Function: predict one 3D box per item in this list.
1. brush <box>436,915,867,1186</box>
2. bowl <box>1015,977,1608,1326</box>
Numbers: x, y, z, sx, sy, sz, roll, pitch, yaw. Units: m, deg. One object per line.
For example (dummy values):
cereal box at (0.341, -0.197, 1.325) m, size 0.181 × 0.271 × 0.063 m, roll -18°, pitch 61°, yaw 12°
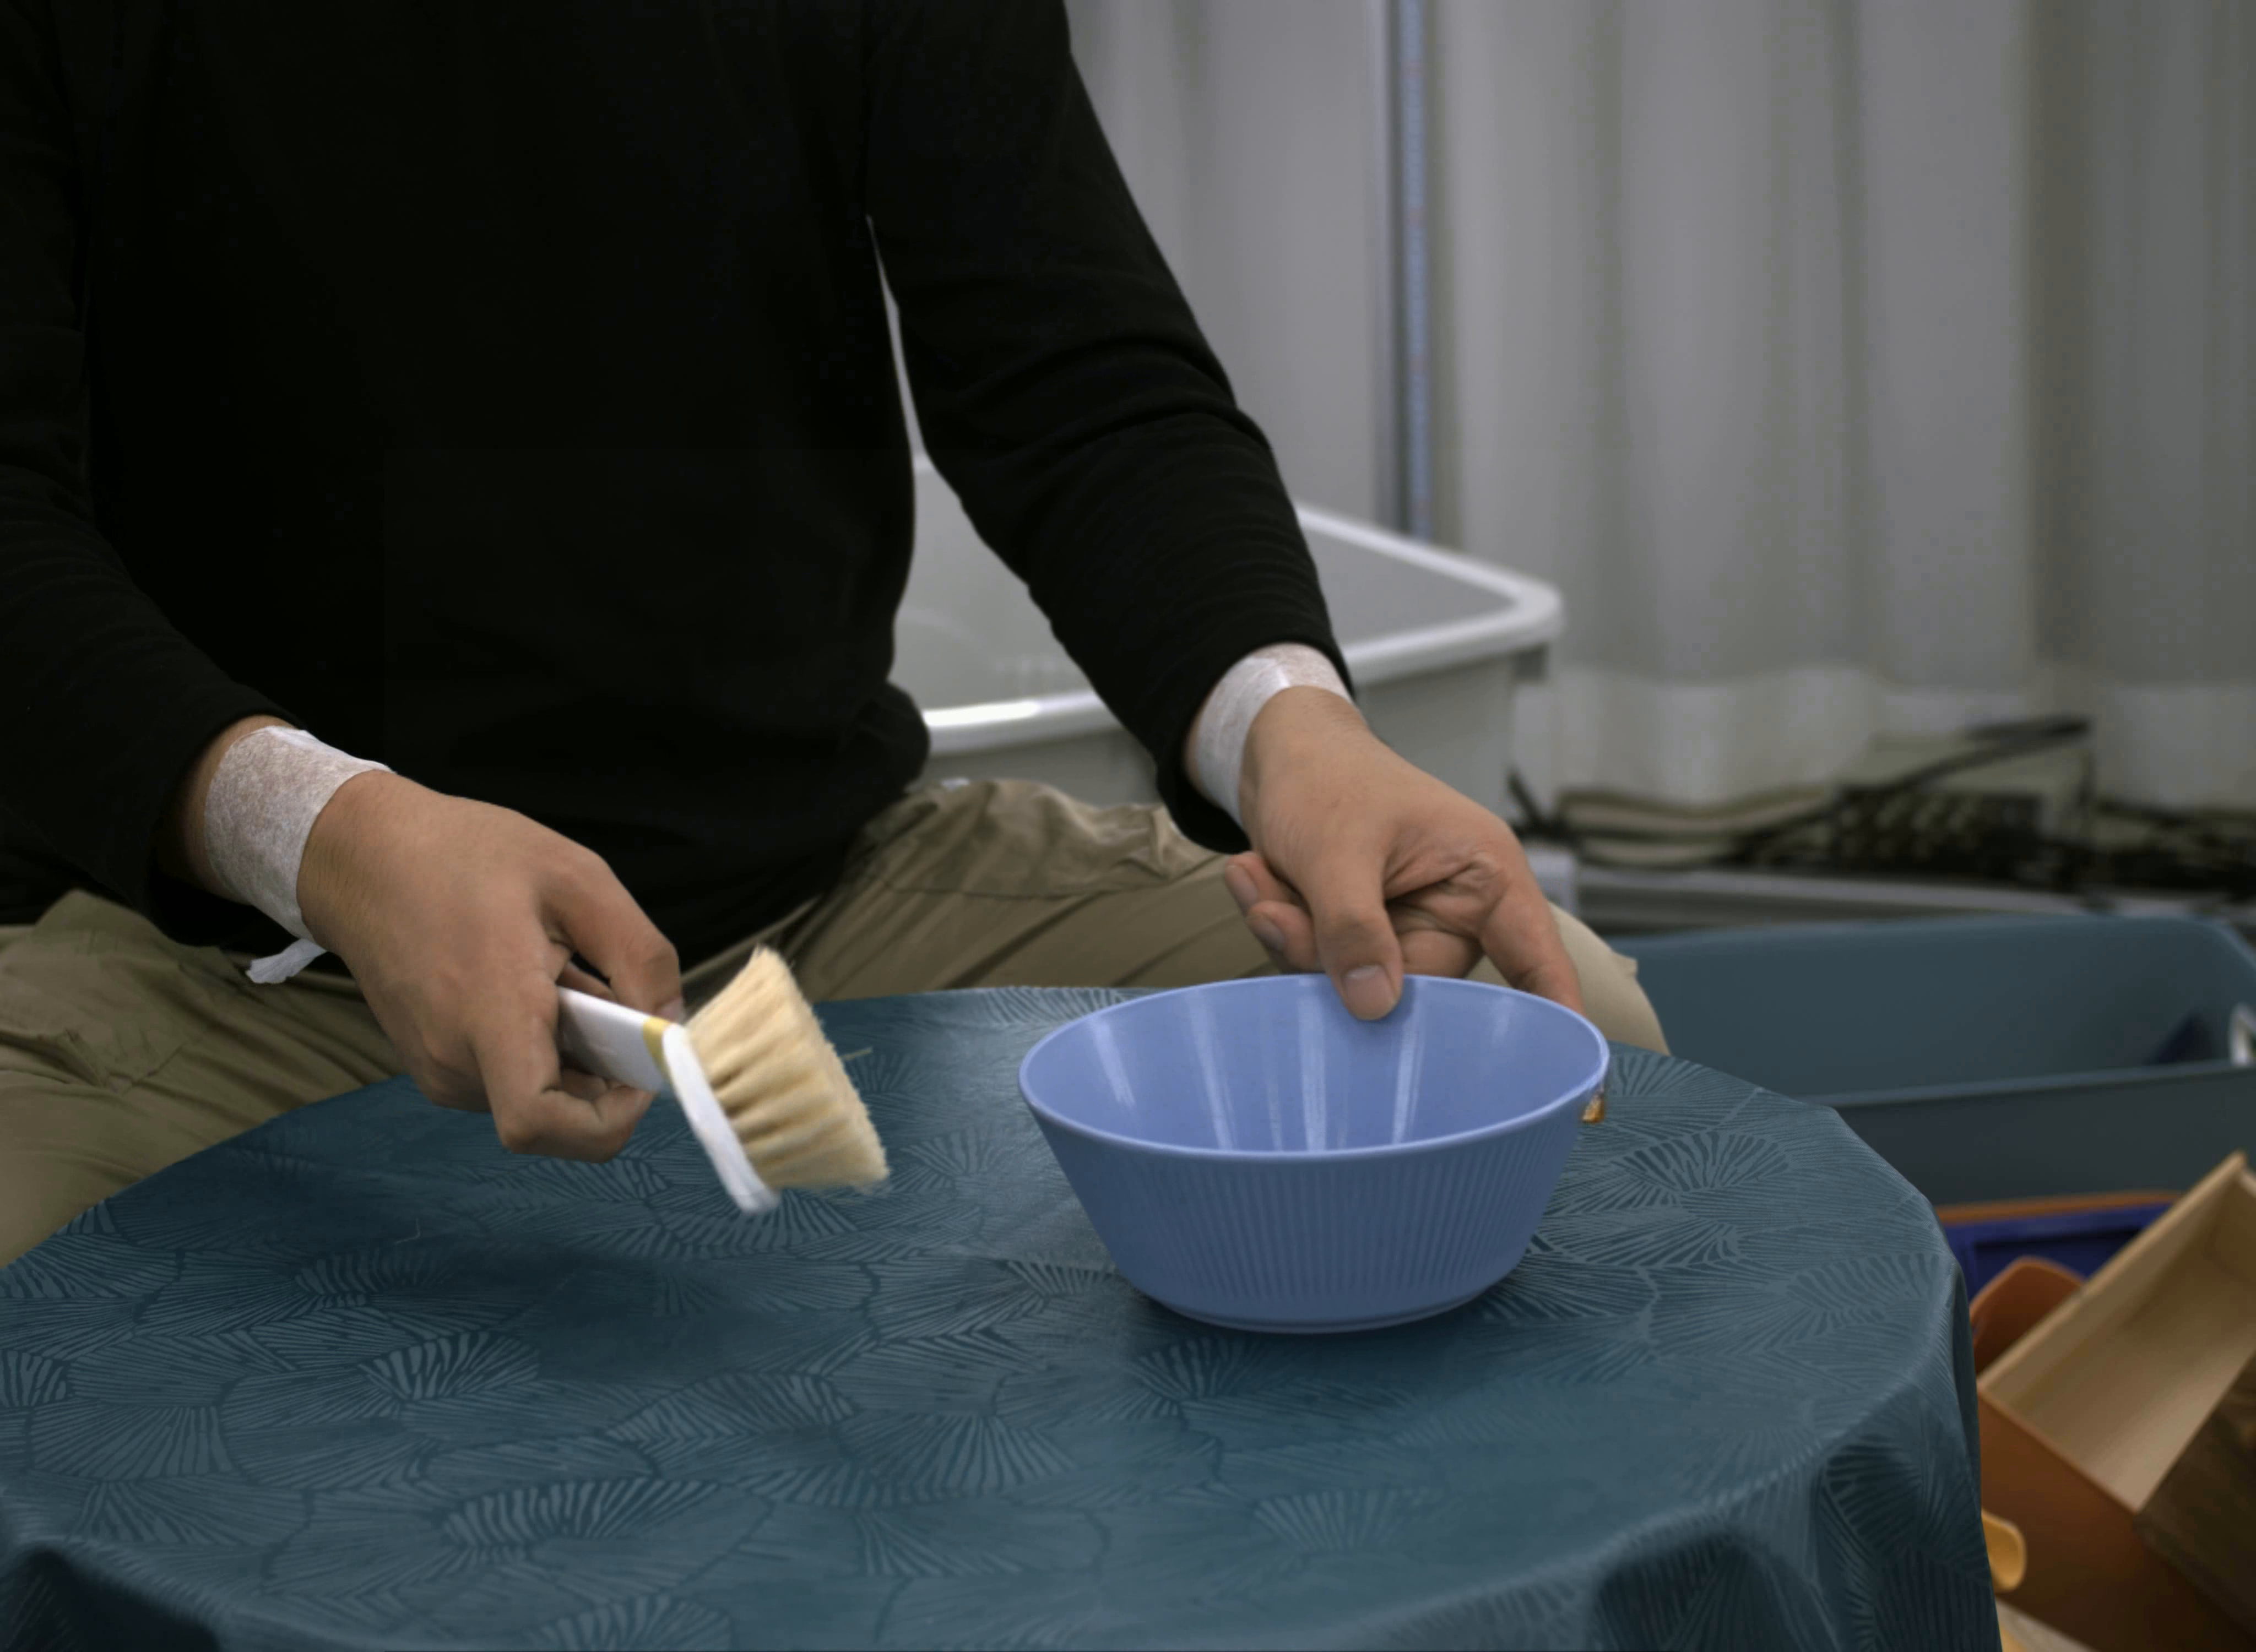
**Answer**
brush at (-0.141, 0.055, 1.604) m, size 0.056 × 0.068 × 0.268 m, roll -27°, pitch 15°, yaw -18°
bowl at (0.055, 0.099, 1.623) m, size 0.175 × 0.070 × 0.177 m, roll -2°, pitch 14°, yaw 0°
